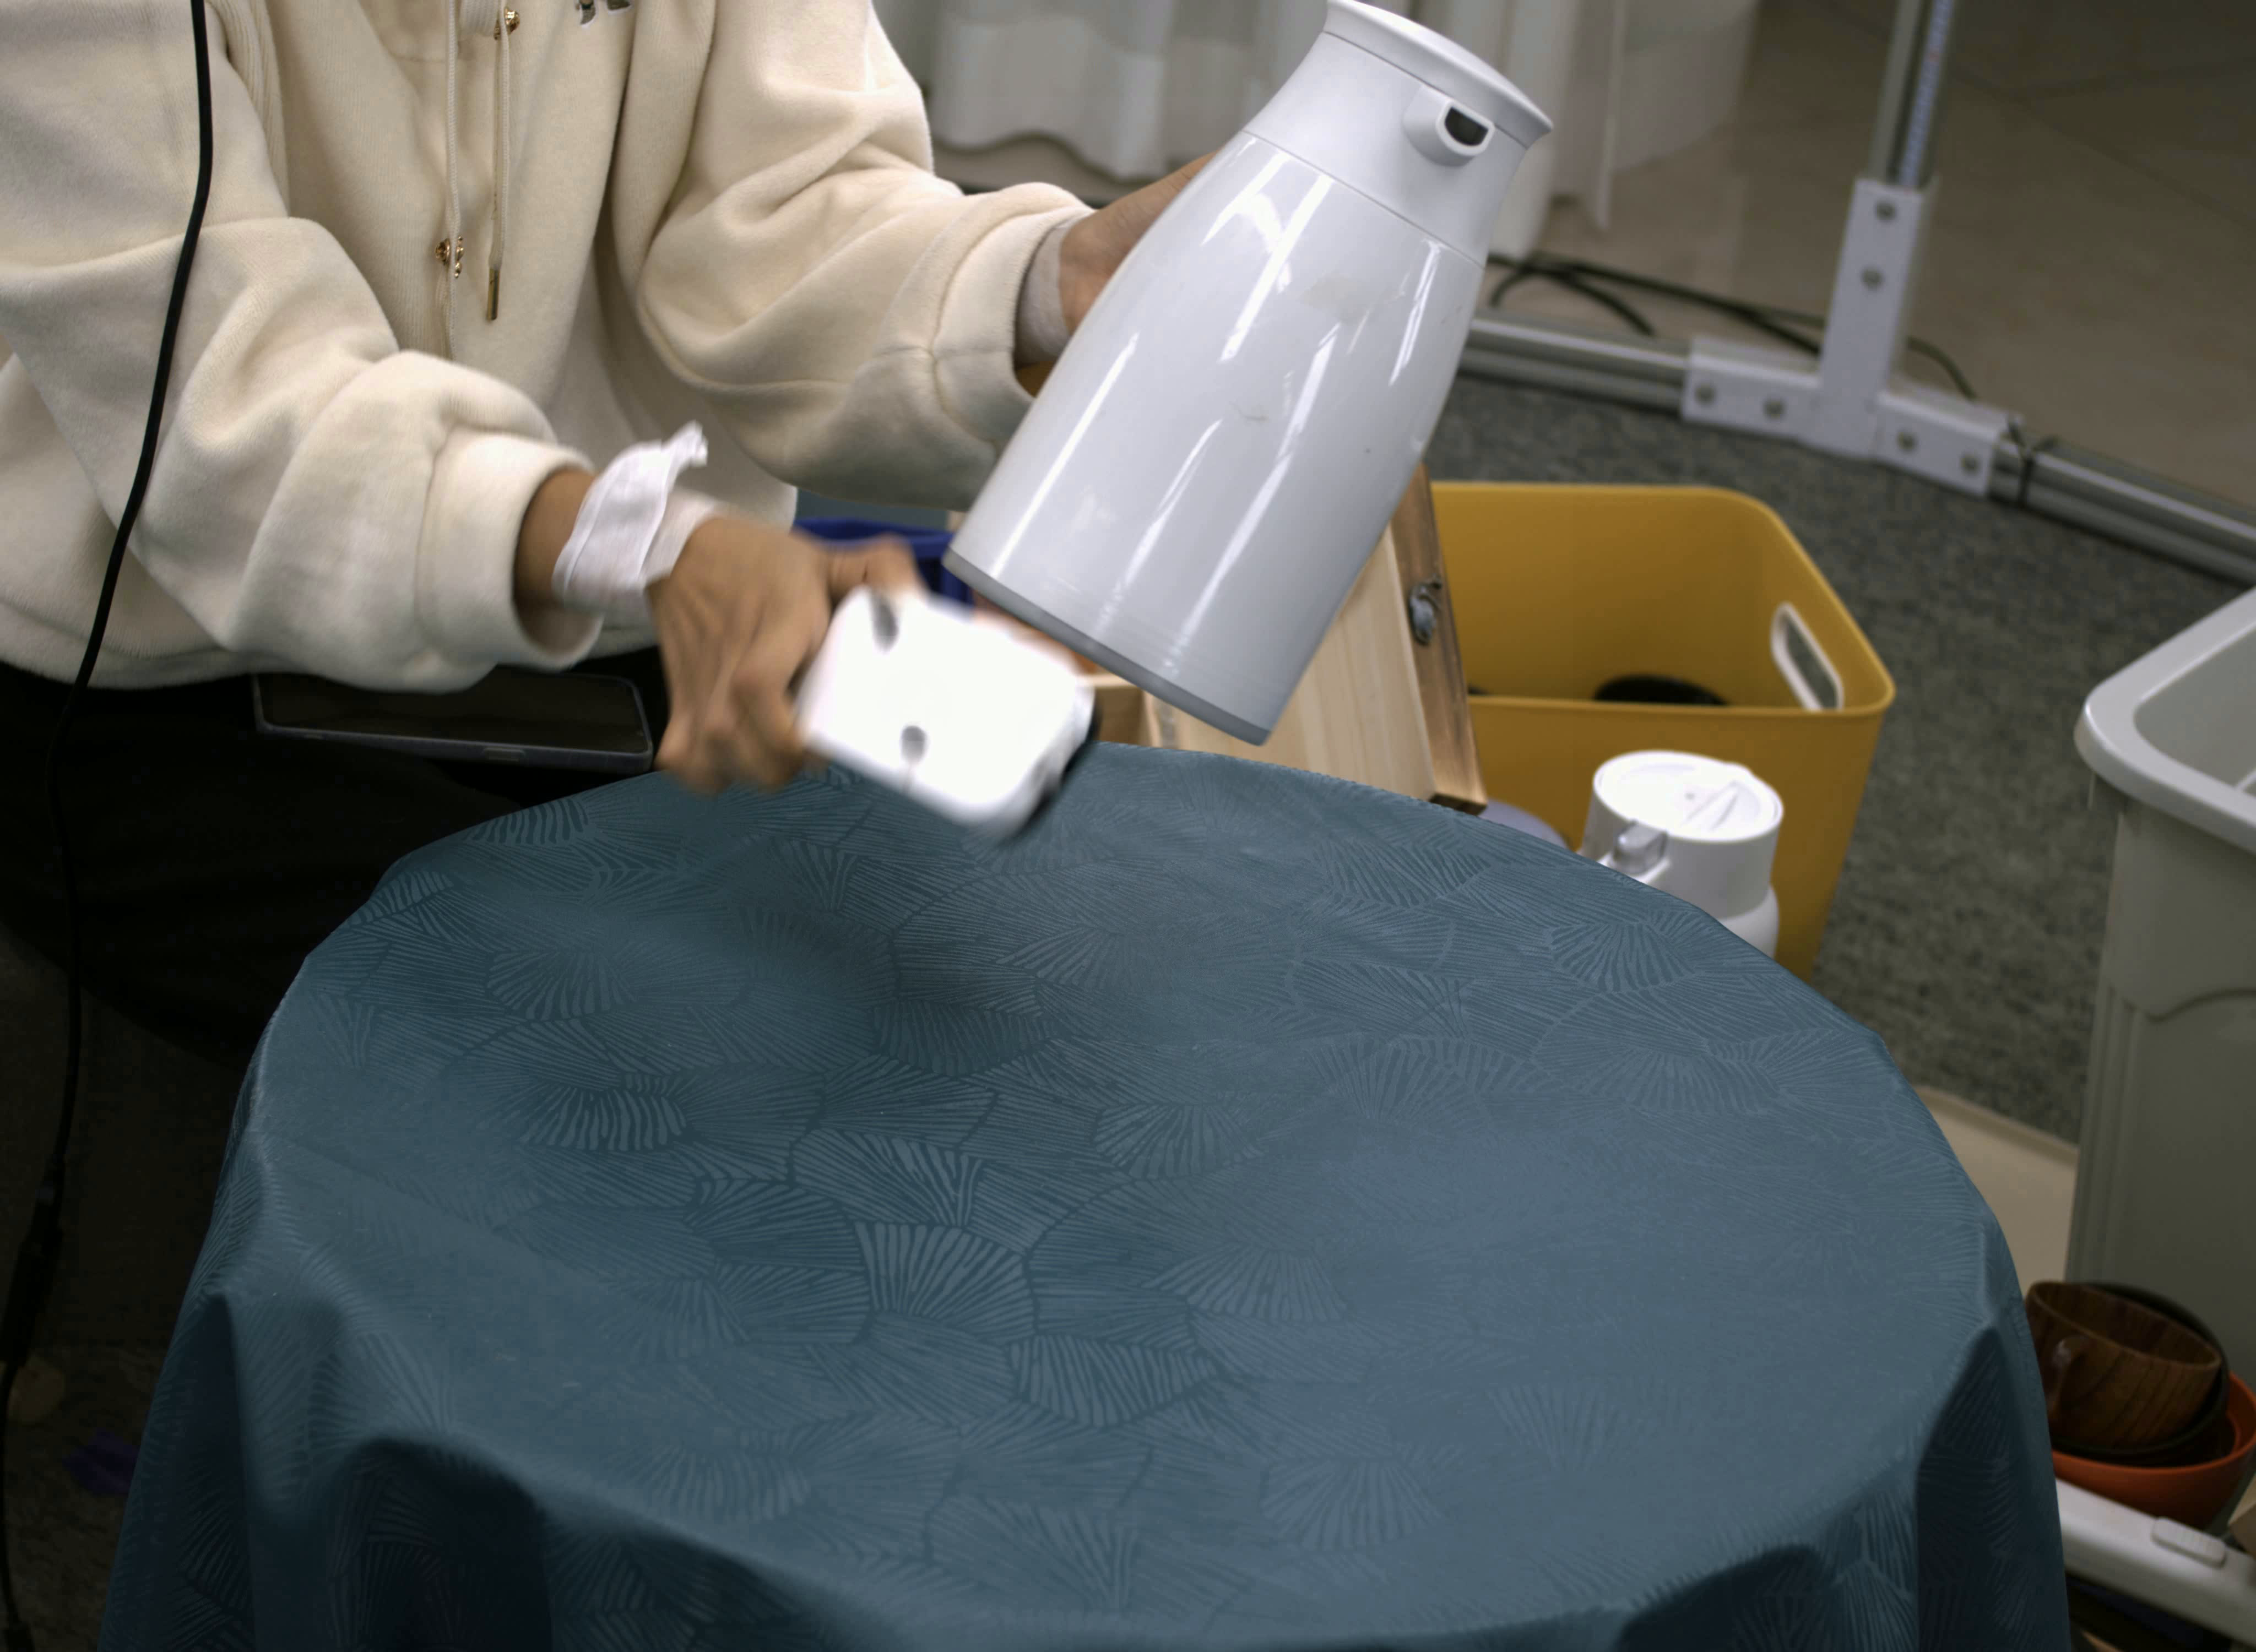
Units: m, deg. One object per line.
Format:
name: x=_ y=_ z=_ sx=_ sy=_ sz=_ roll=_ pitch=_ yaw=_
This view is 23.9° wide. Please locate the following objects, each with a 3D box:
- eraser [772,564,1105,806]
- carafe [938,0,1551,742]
eraser: x=-0.064 y=-0.050 z=1.791 sx=0.132 sy=0.034 sz=0.063 roll=22 pitch=71 yaw=49
carafe: x=0.045 y=-0.173 z=1.894 sx=0.131 sy=0.249 sz=0.168 roll=29 pitch=3 yaw=-20
